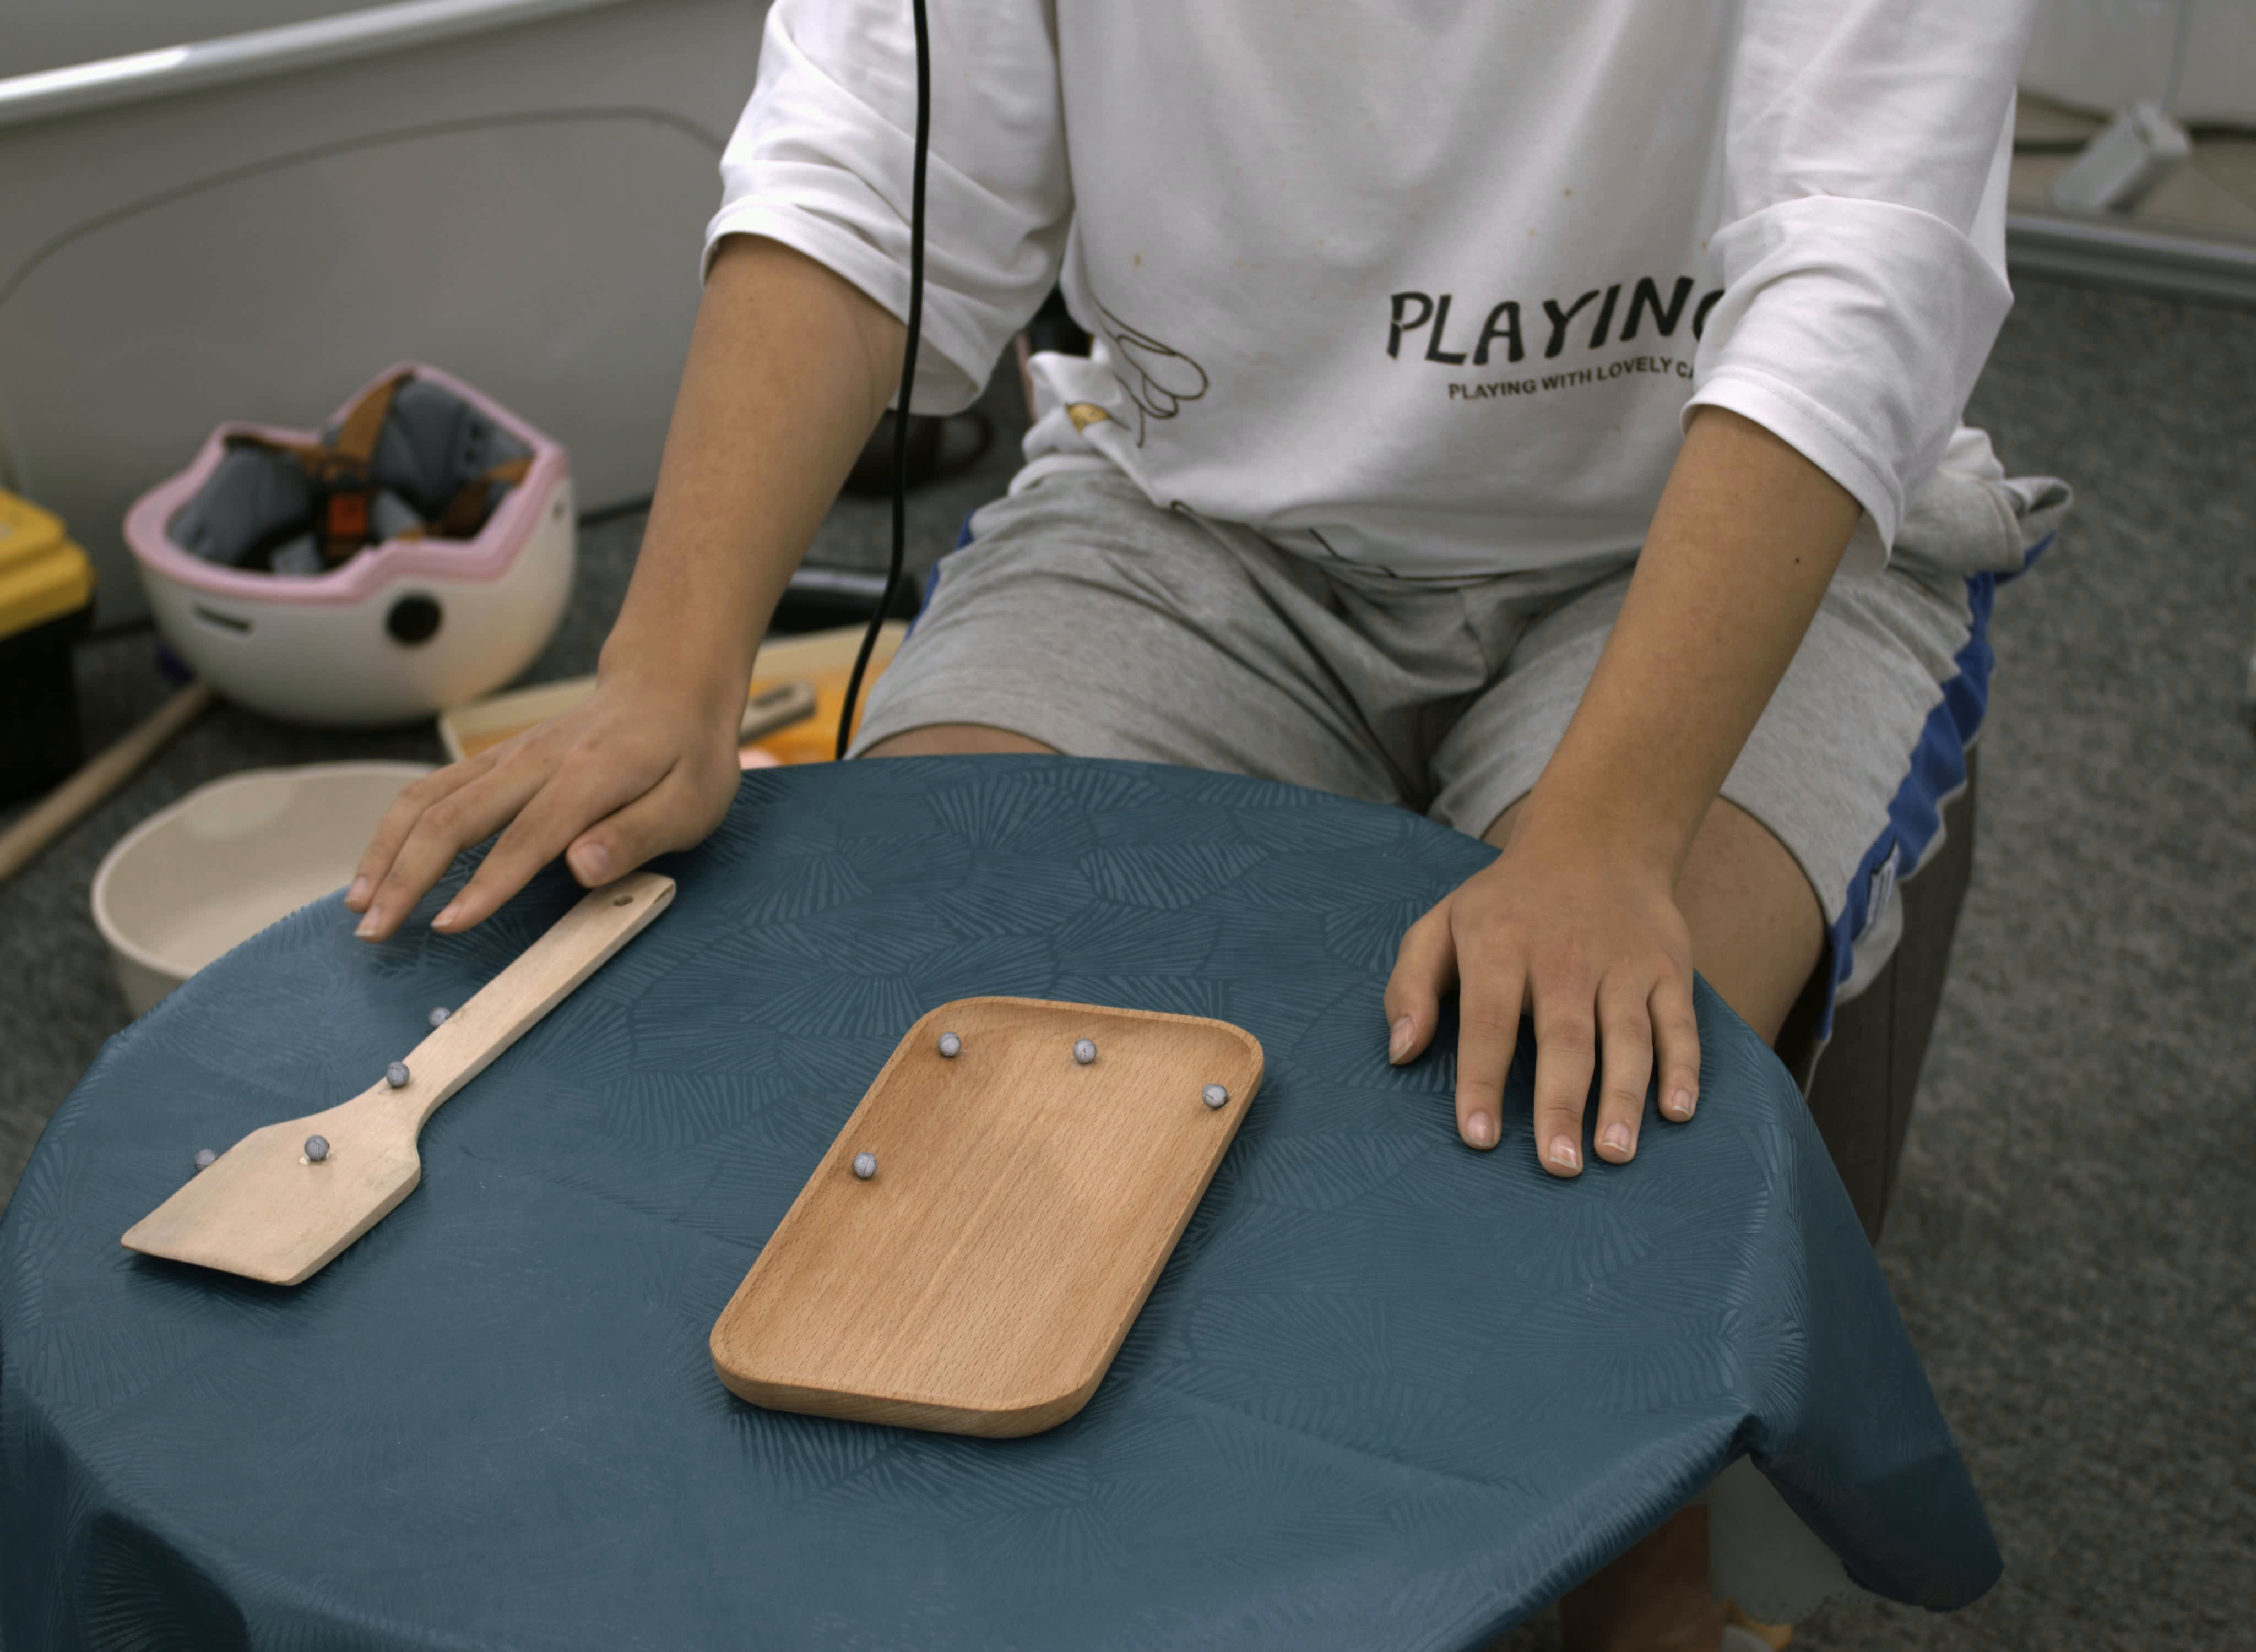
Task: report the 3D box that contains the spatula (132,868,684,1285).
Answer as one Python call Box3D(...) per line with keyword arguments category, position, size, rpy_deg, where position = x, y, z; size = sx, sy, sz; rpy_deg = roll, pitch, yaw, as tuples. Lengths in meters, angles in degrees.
Box3D(category="spatula", position=(-0.237, 0.082, 1.951), size=(0.072, 0.010, 0.298), rpy_deg=(9, 30, 24))

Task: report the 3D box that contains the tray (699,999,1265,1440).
Box3D(category="tray", position=(-0.044, 0.126, 1.842), size=(0.129, 0.022, 0.255), rpy_deg=(4, 28, 18))
